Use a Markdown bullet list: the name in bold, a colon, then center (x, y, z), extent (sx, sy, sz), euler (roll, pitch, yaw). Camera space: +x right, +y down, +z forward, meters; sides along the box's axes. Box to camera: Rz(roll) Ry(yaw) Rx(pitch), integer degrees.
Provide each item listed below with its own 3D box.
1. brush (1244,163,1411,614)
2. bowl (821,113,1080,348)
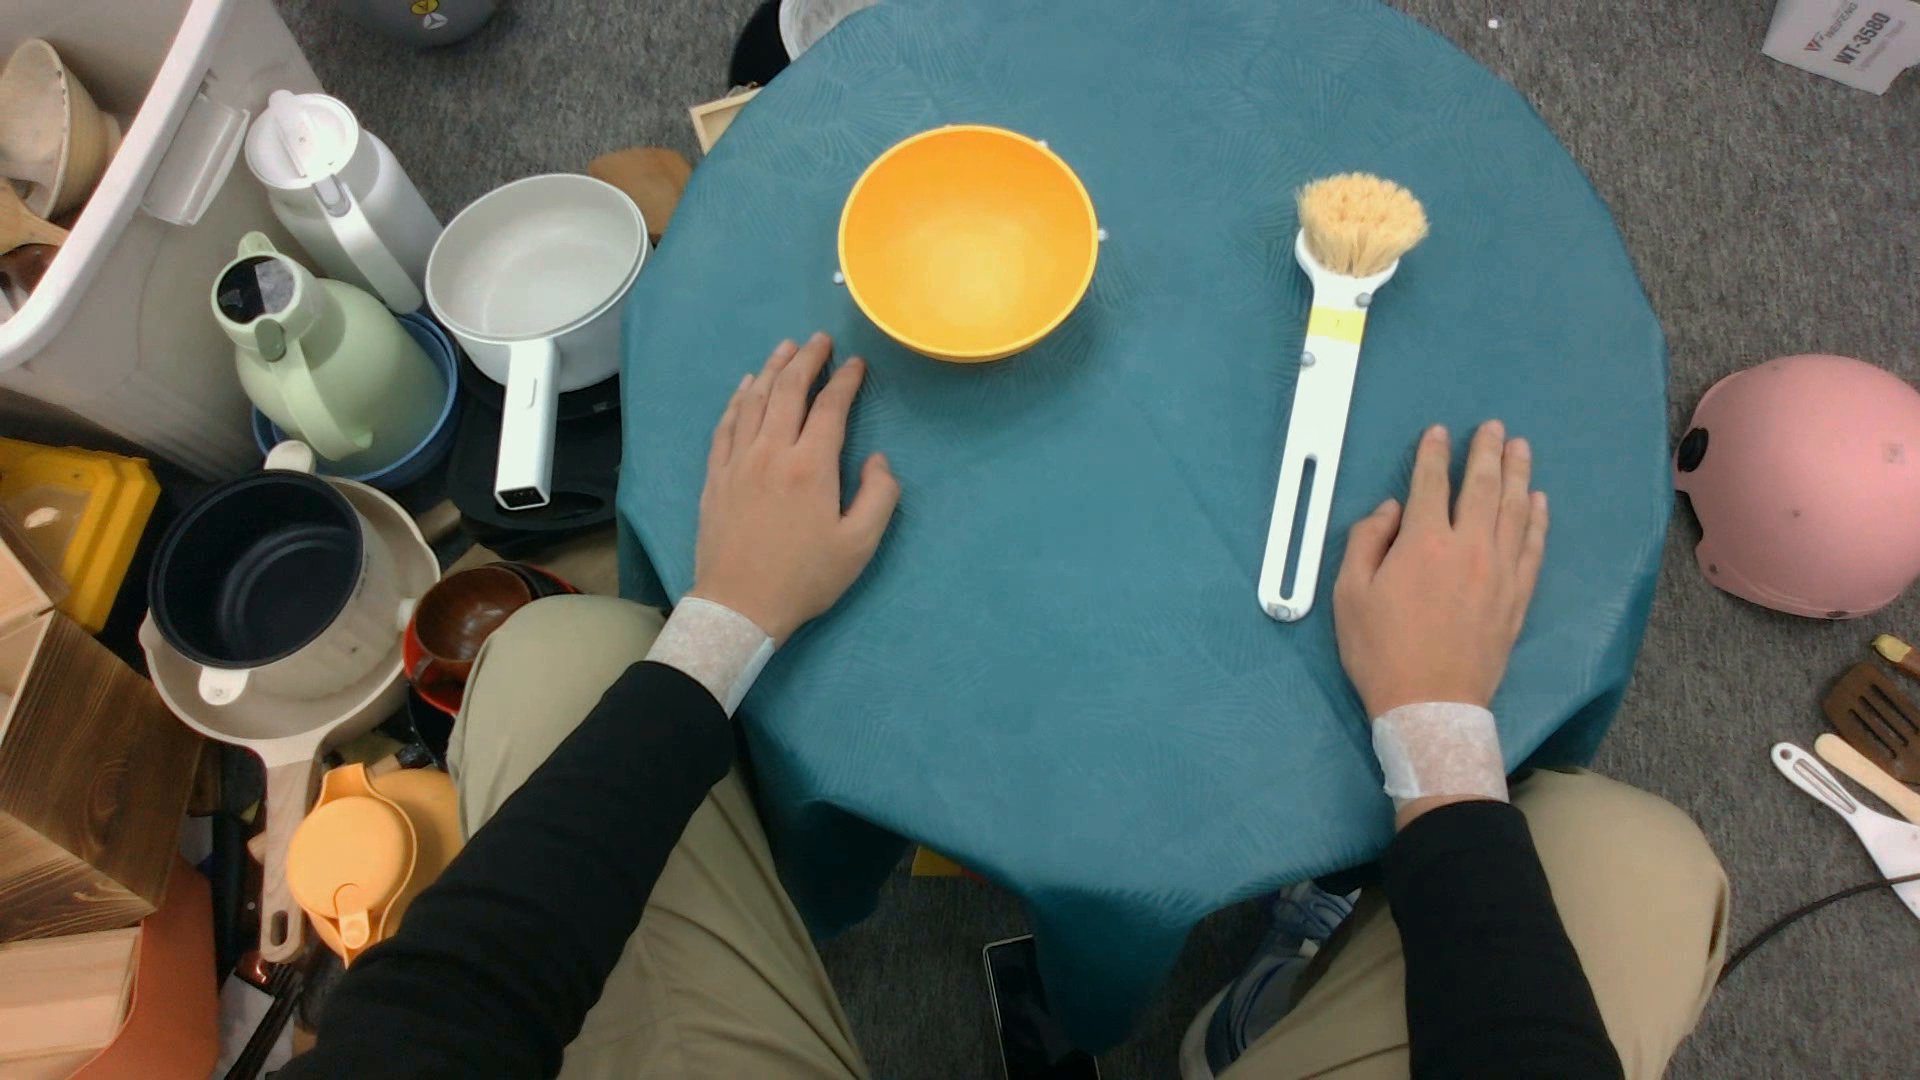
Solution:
- **brush**: center (0.198, -0.091, 0.766), extent (0.068, 0.056, 0.267), euler (12, 73, 9)
- **bowl**: center (-0.004, -0.167, 0.789), extent (0.145, 0.060, 0.145), euler (-1, 72, 2)
